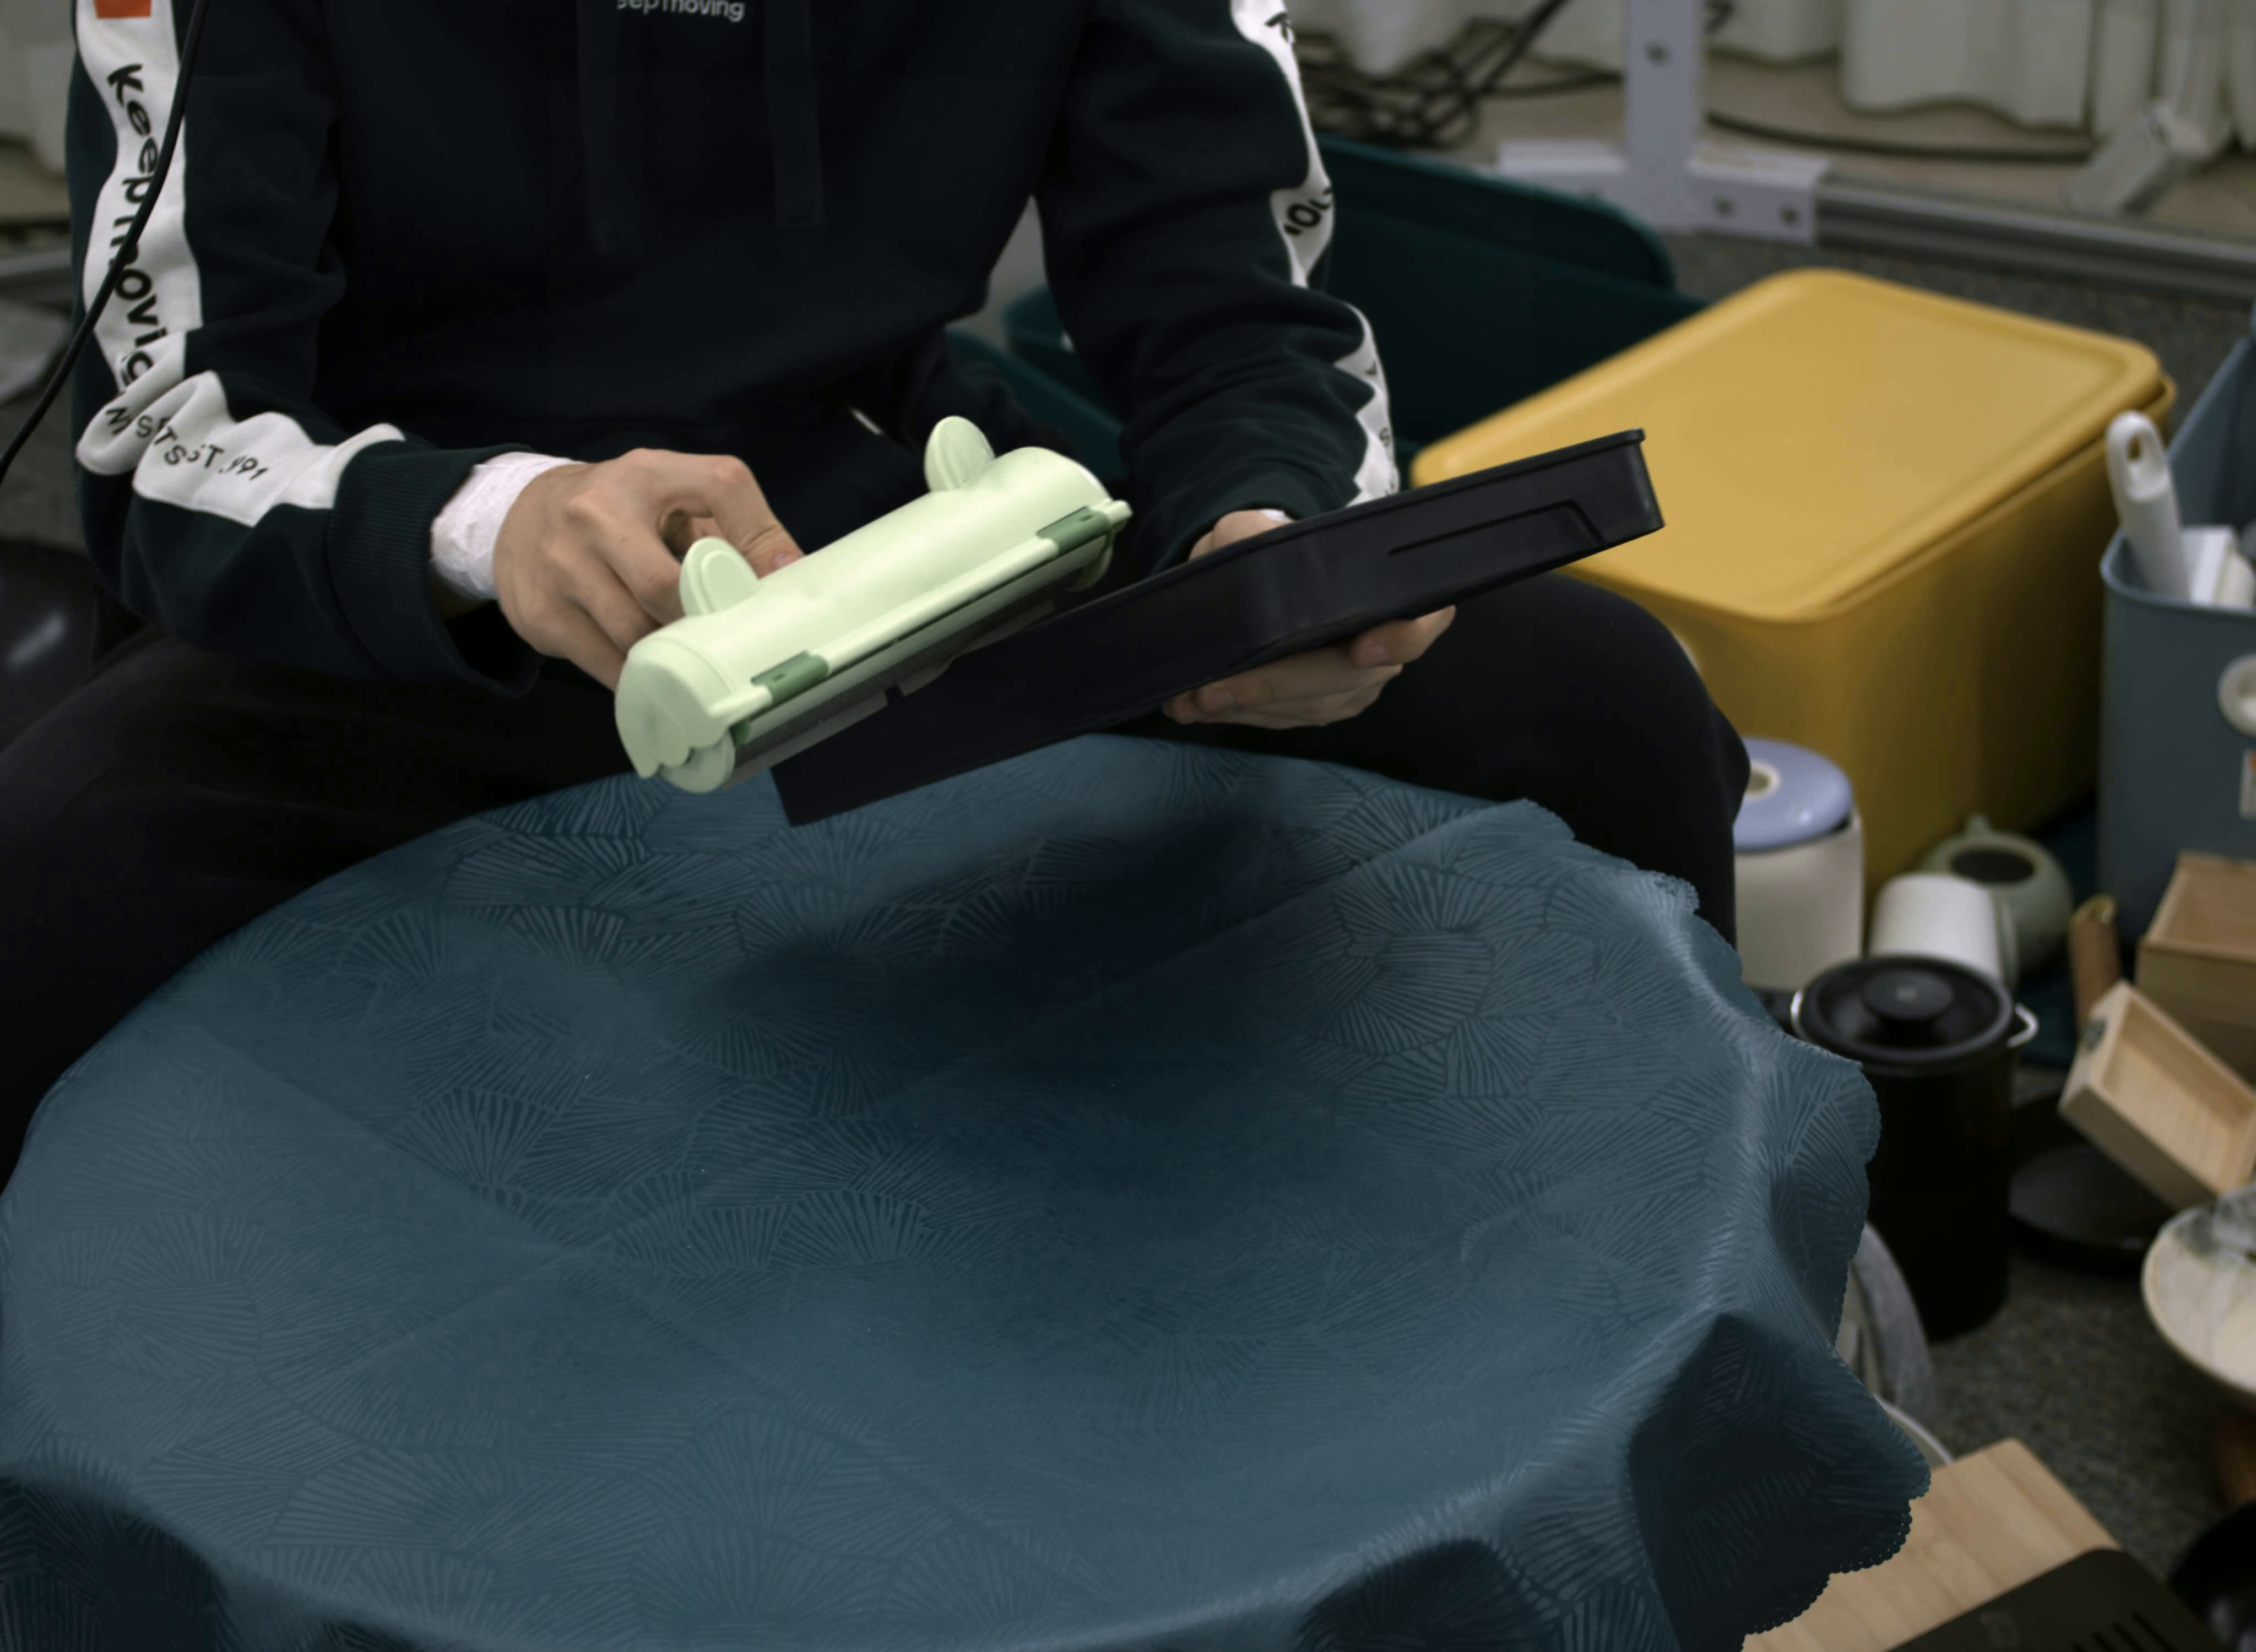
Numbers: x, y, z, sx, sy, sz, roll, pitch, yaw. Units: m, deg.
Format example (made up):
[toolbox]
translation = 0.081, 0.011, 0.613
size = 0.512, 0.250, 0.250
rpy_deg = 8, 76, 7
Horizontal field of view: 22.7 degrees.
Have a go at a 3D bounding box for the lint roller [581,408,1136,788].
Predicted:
[lint roller]
translation = -0.124, -0.088, 1.887
size = 0.182, 0.081, 0.201
rpy_deg = 14, 32, 40

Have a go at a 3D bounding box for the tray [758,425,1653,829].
[tray]
translation = 0.020, -0.065, 1.923
size = 0.186, 0.037, 0.313
rpy_deg = -18, -1, -38
